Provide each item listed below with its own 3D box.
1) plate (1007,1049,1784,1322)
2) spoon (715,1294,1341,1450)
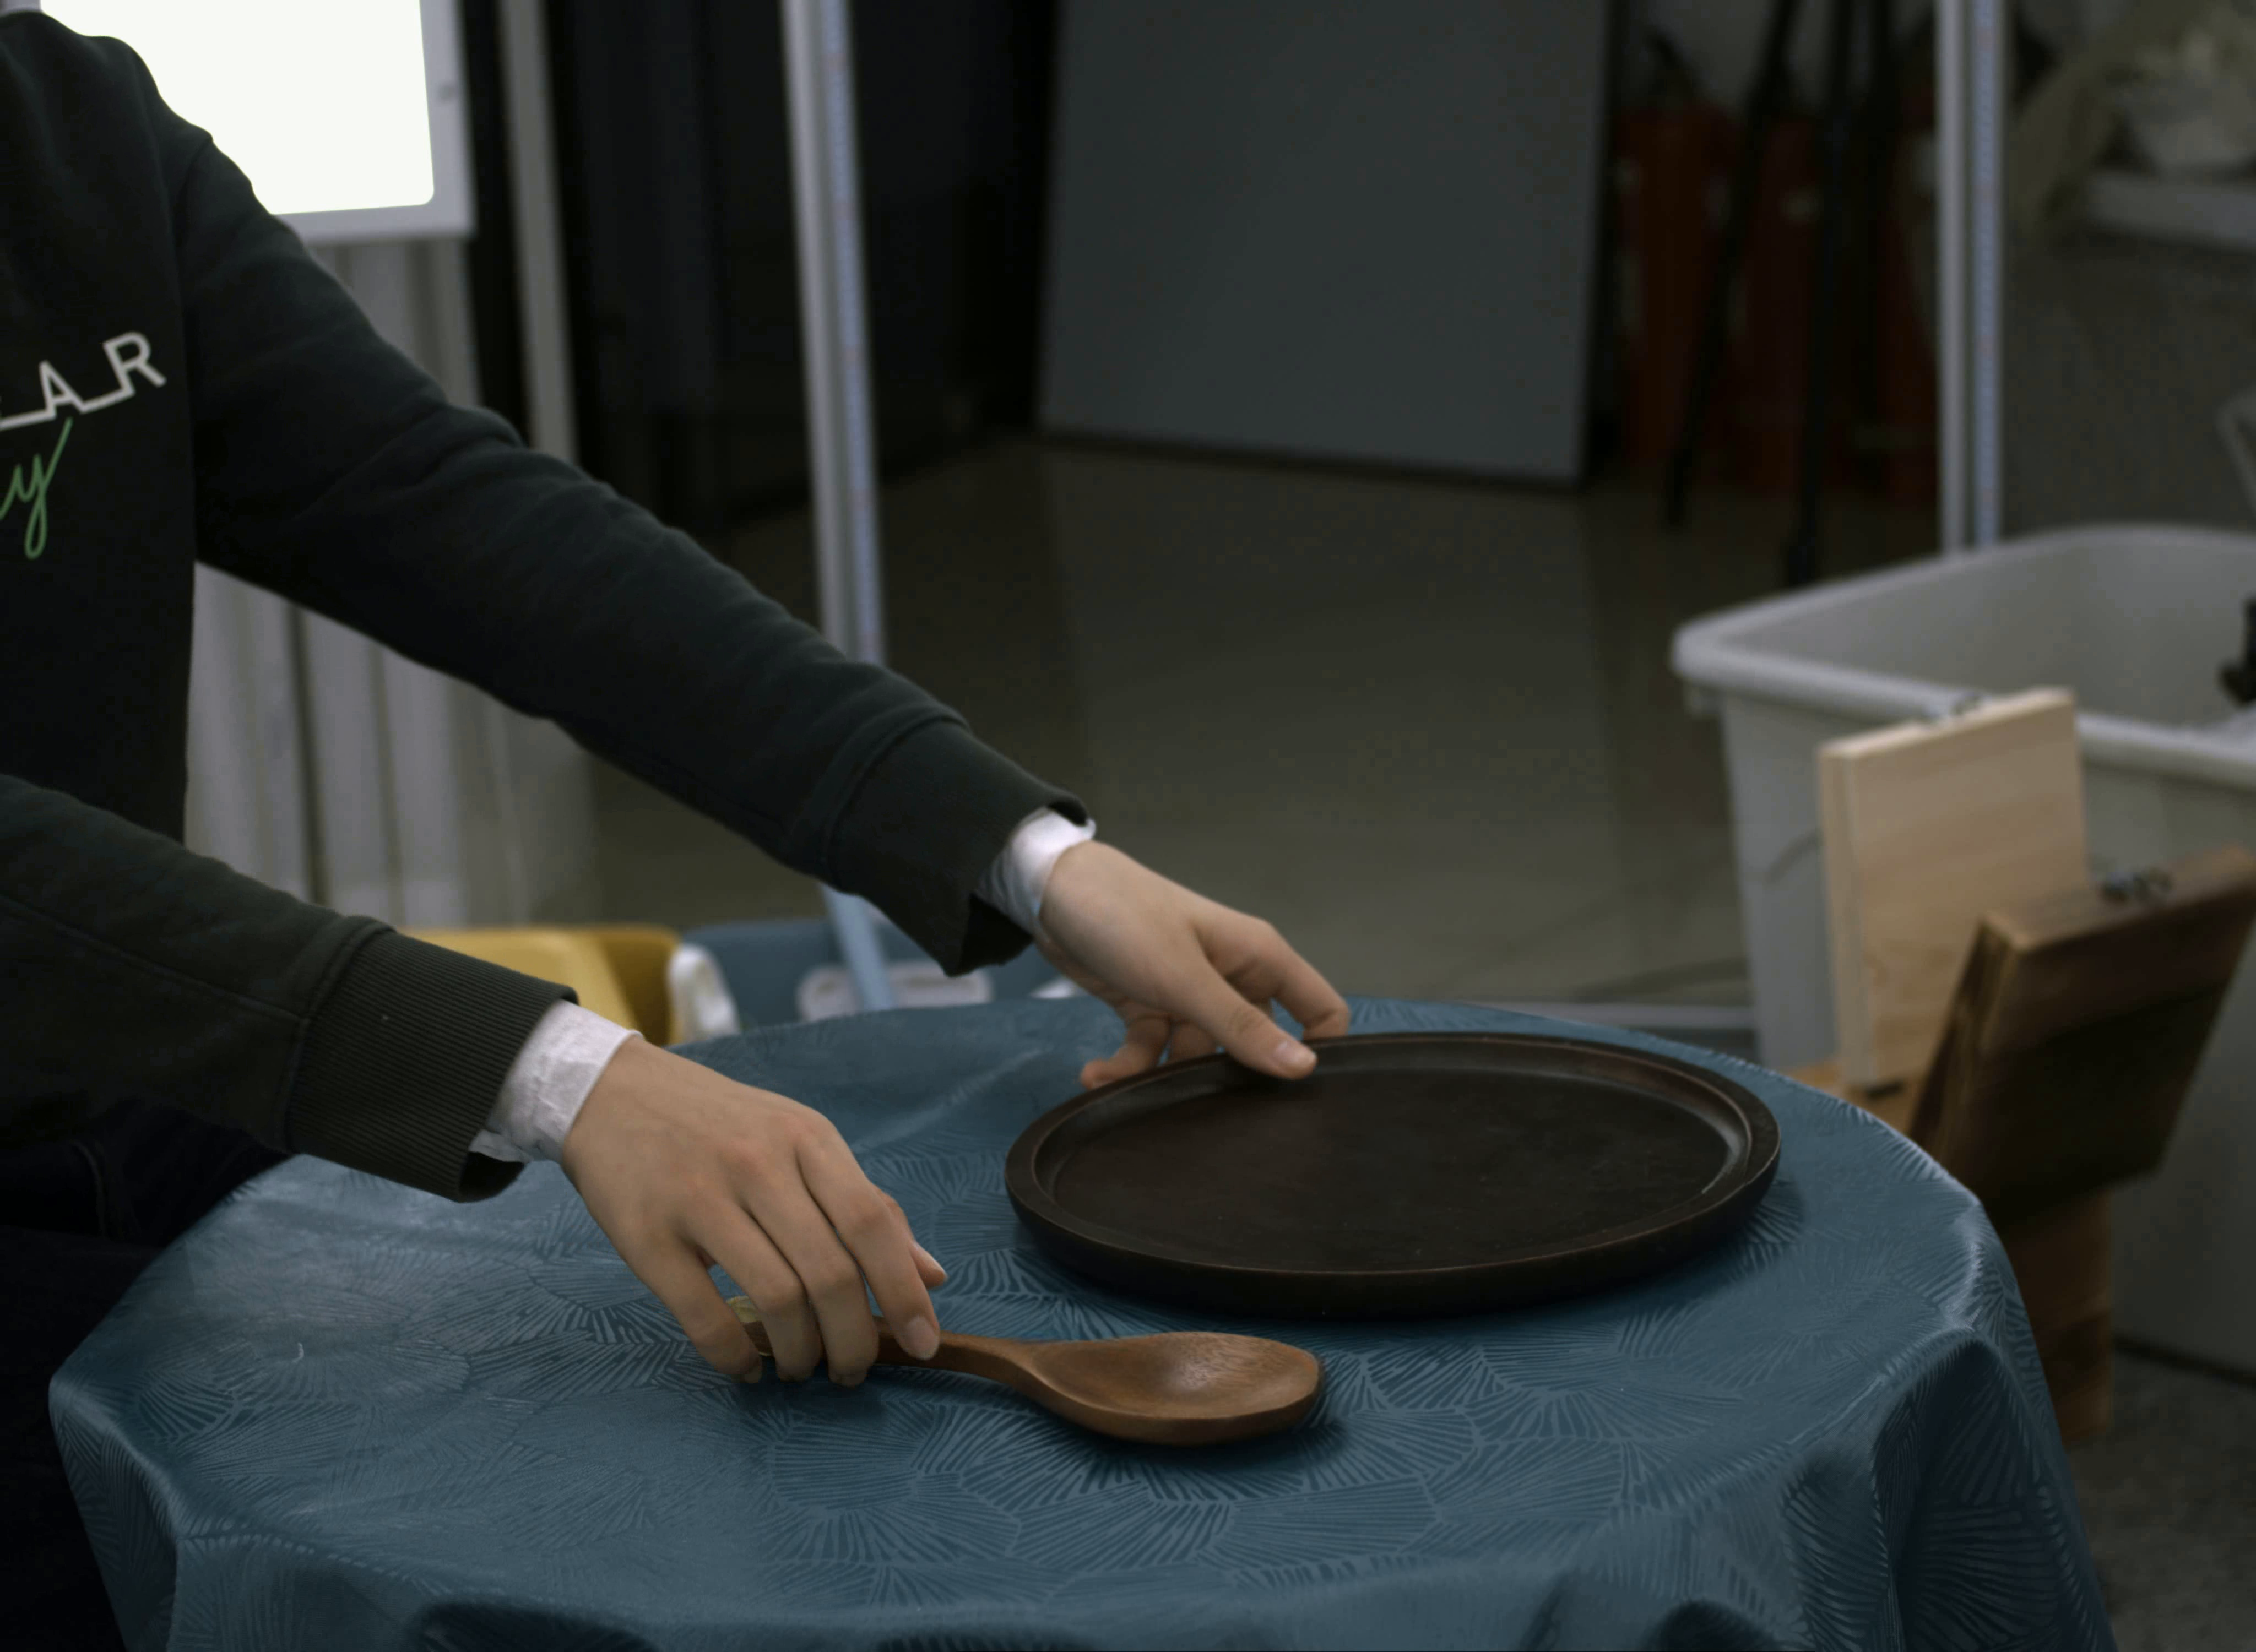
[{"bbox_3d":[0.086,0.113,1.735,0.251,0.029,0.255,-3,13,0],"label":"plate"},{"bbox_3d":[-0.033,0.159,1.590,0.217,0.017,0.074,6,17,34],"label":"spoon"}]
